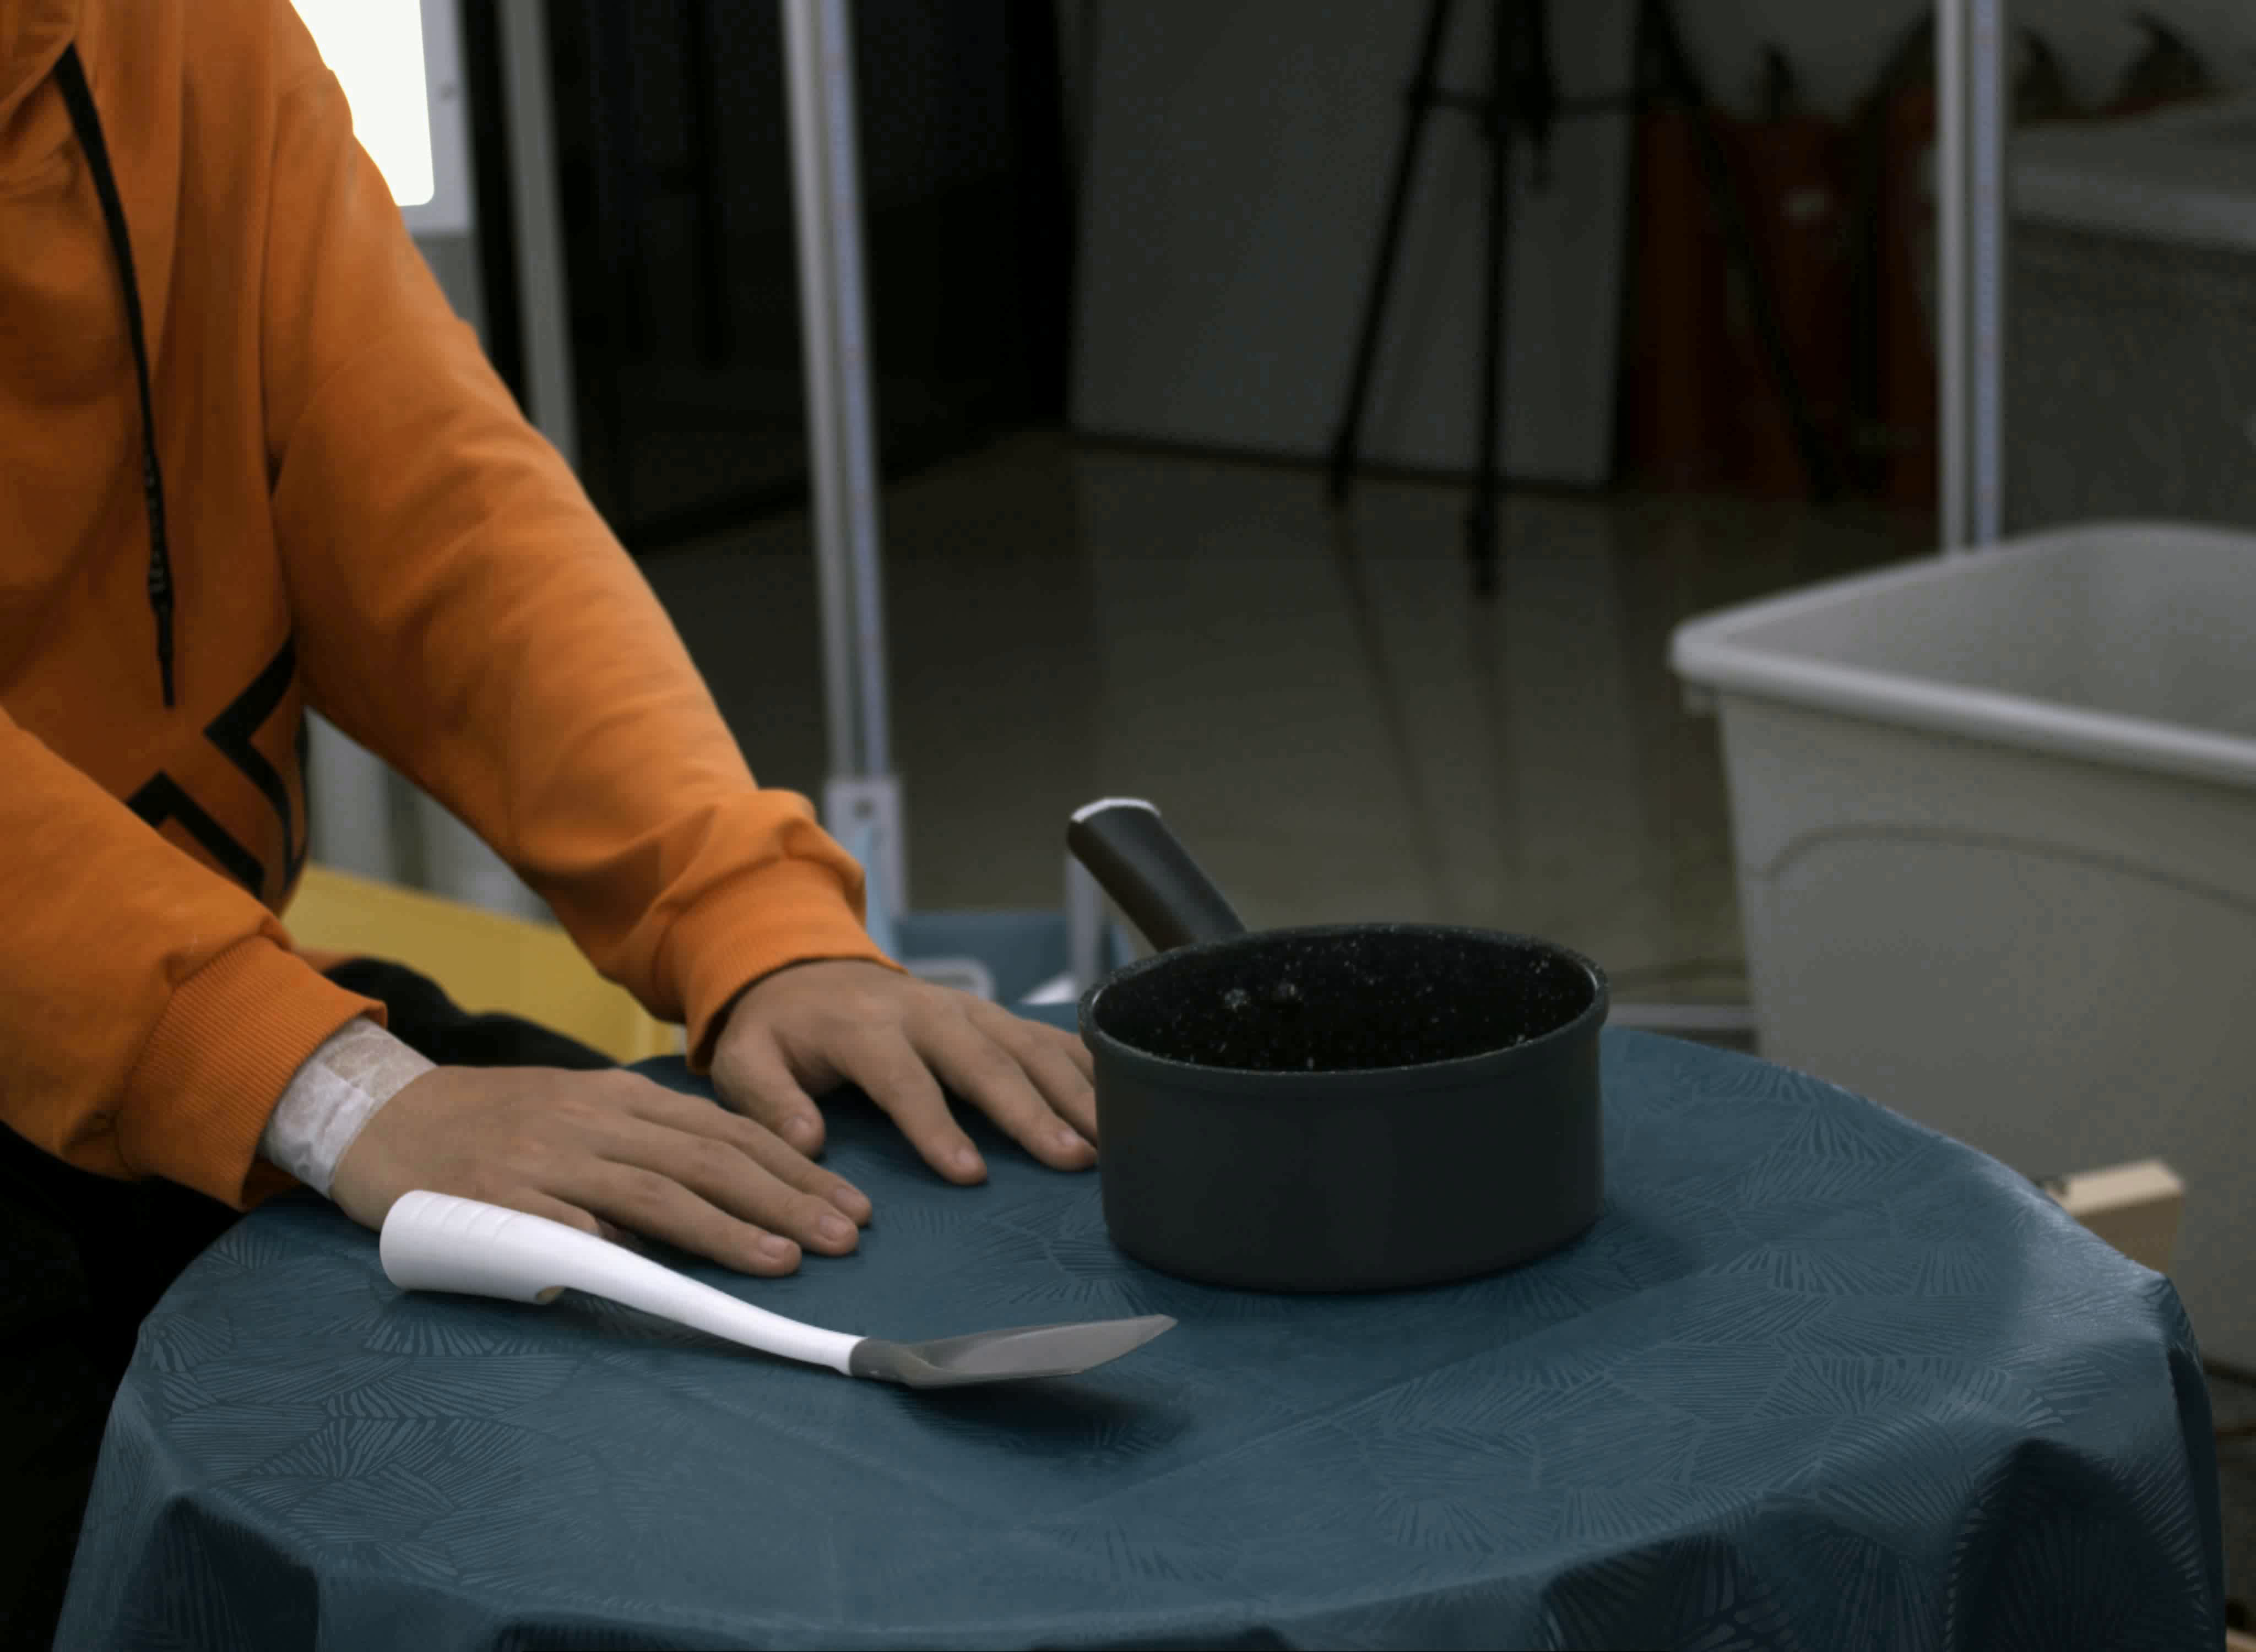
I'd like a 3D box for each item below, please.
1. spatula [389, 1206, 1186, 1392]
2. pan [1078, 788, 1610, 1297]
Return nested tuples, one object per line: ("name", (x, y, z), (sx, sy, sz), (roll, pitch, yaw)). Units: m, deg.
("spatula", (-0.108, 0.147, 1.634), (0.289, 0.032, 0.057), (5, 13, 36))
("pan", (0.049, 0.068, 1.793), (0.169, 0.087, 0.331), (-7, 16, -14))
